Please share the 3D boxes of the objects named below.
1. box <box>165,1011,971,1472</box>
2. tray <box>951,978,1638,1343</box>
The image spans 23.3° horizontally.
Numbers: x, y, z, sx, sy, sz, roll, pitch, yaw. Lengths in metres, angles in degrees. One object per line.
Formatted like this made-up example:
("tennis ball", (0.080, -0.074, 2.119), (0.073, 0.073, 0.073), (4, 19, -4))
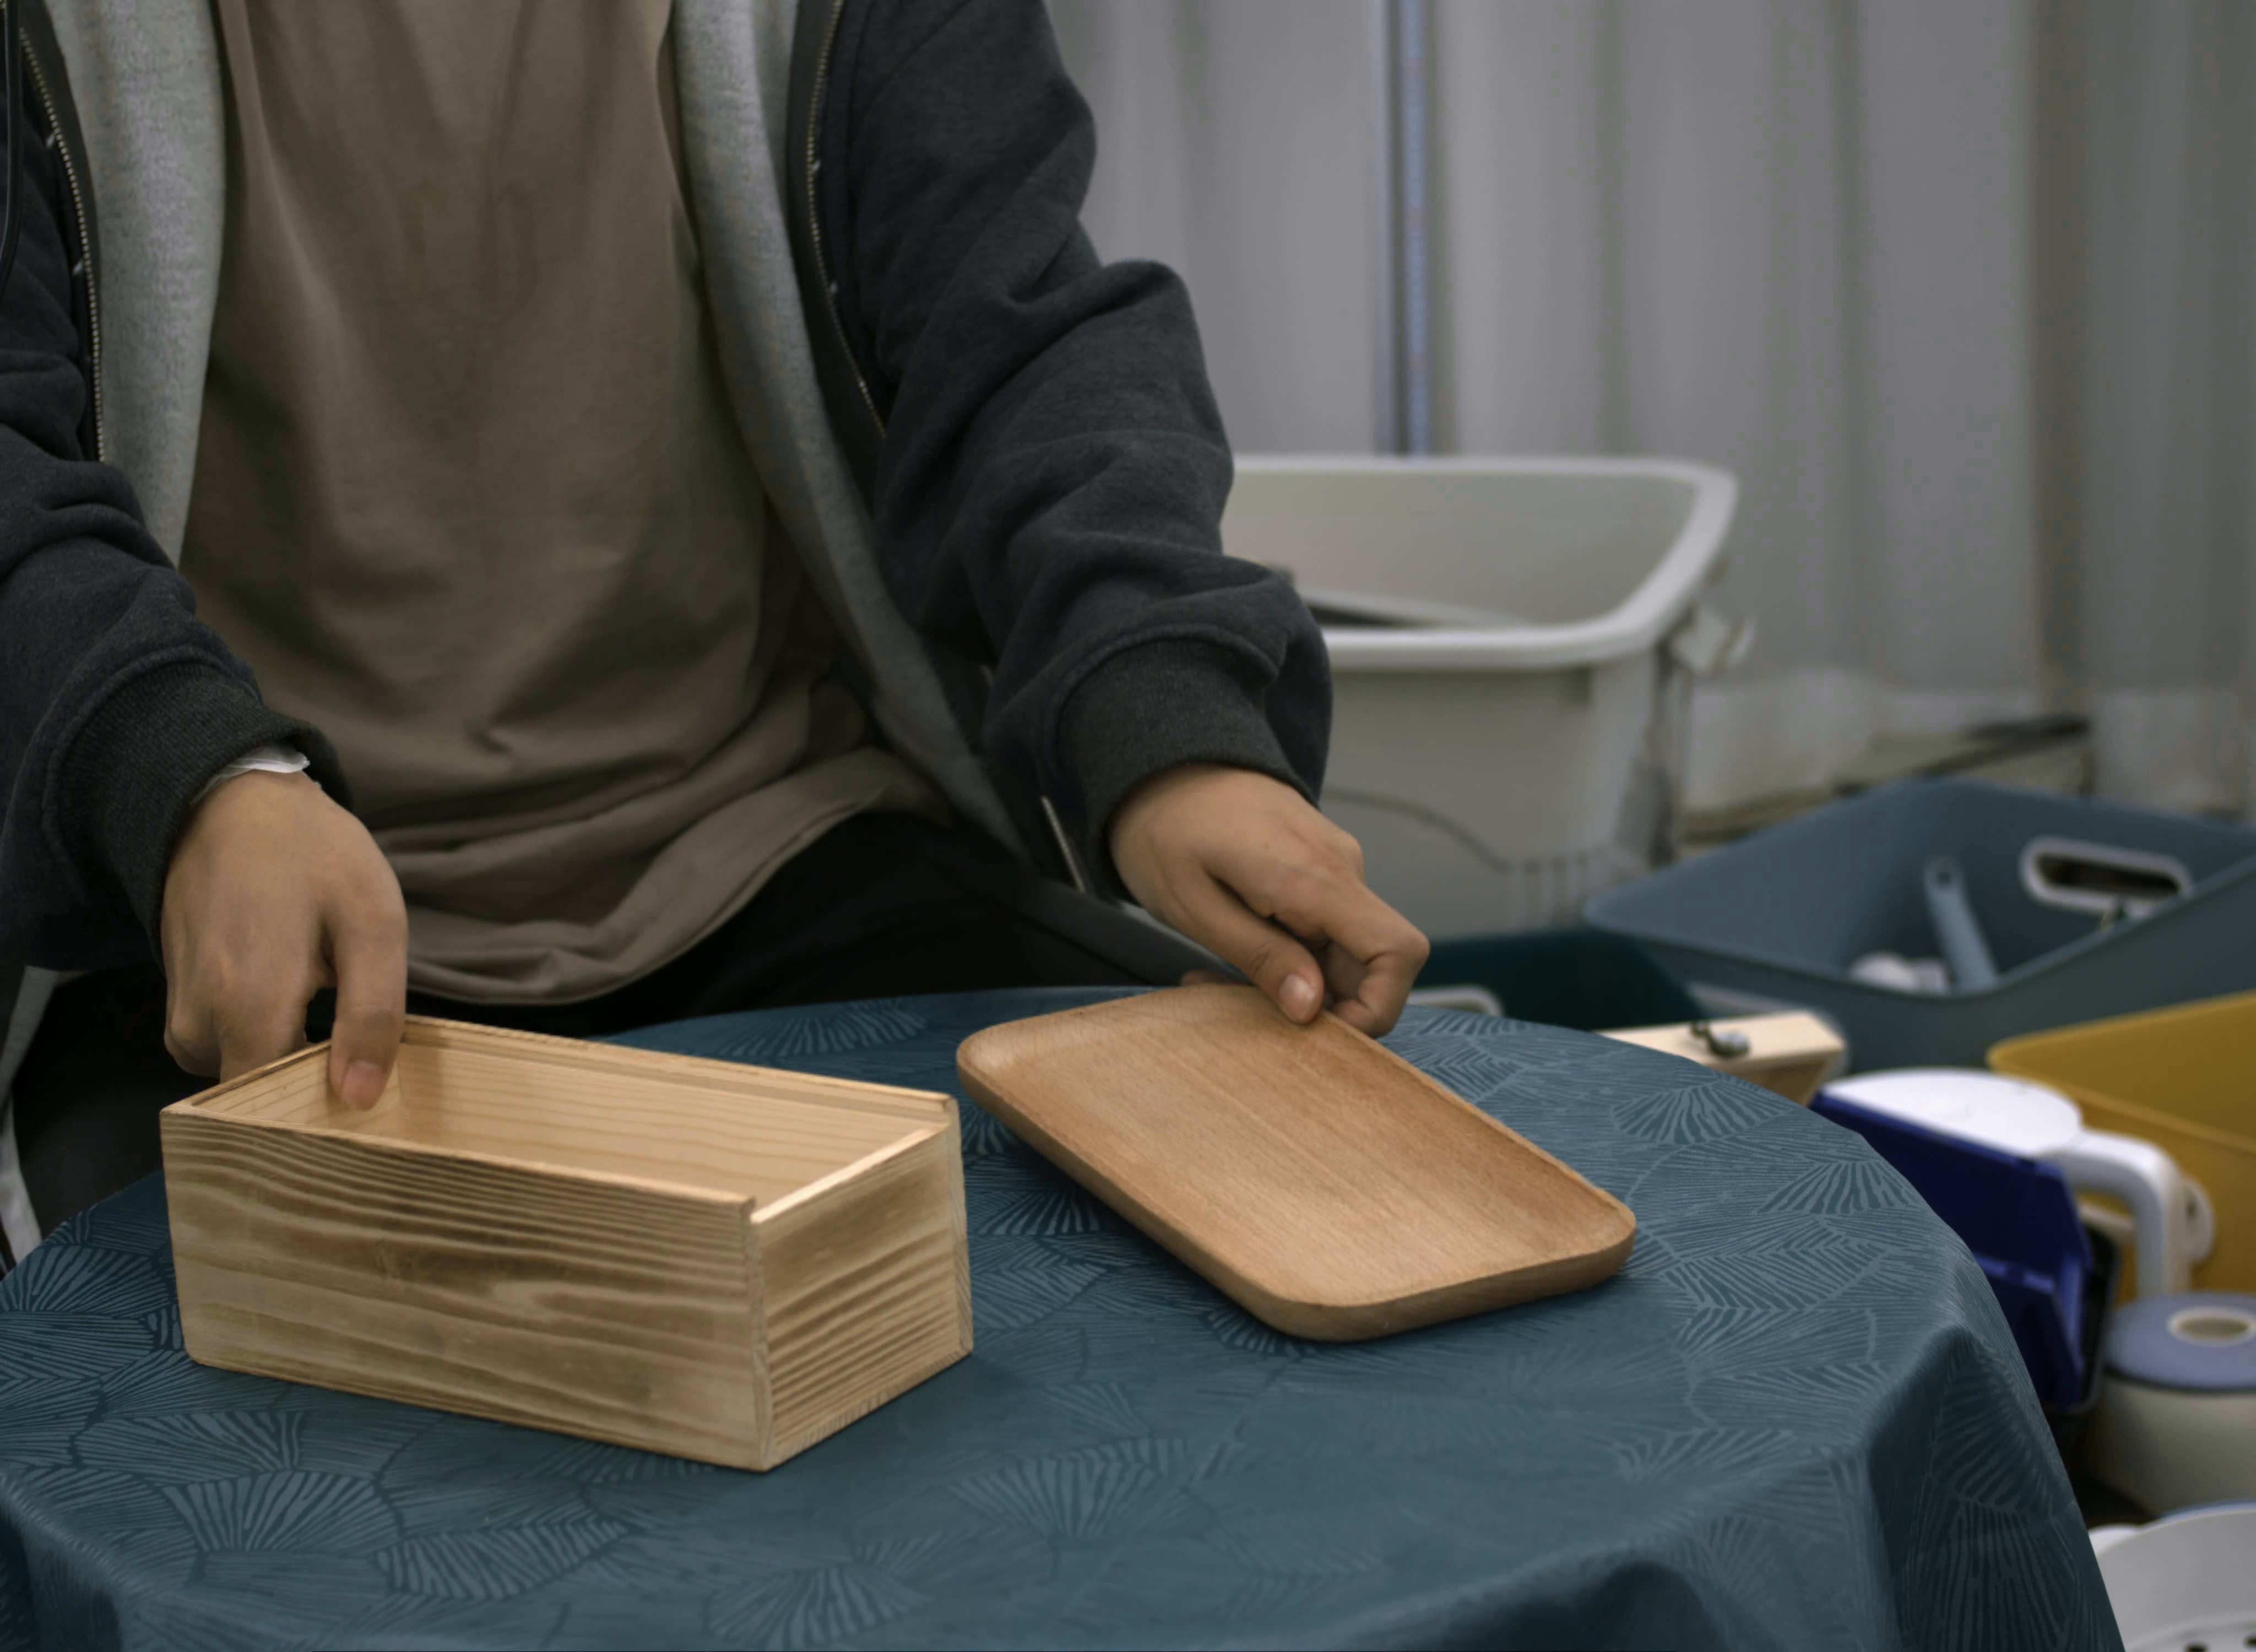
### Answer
("box", (-0.163, 0.117, 1.586), (0.212, 0.080, 0.107), (6, 17, 32))
("tray", (0.047, 0.100, 1.689), (0.130, 0.023, 0.253), (-8, 20, -26))
